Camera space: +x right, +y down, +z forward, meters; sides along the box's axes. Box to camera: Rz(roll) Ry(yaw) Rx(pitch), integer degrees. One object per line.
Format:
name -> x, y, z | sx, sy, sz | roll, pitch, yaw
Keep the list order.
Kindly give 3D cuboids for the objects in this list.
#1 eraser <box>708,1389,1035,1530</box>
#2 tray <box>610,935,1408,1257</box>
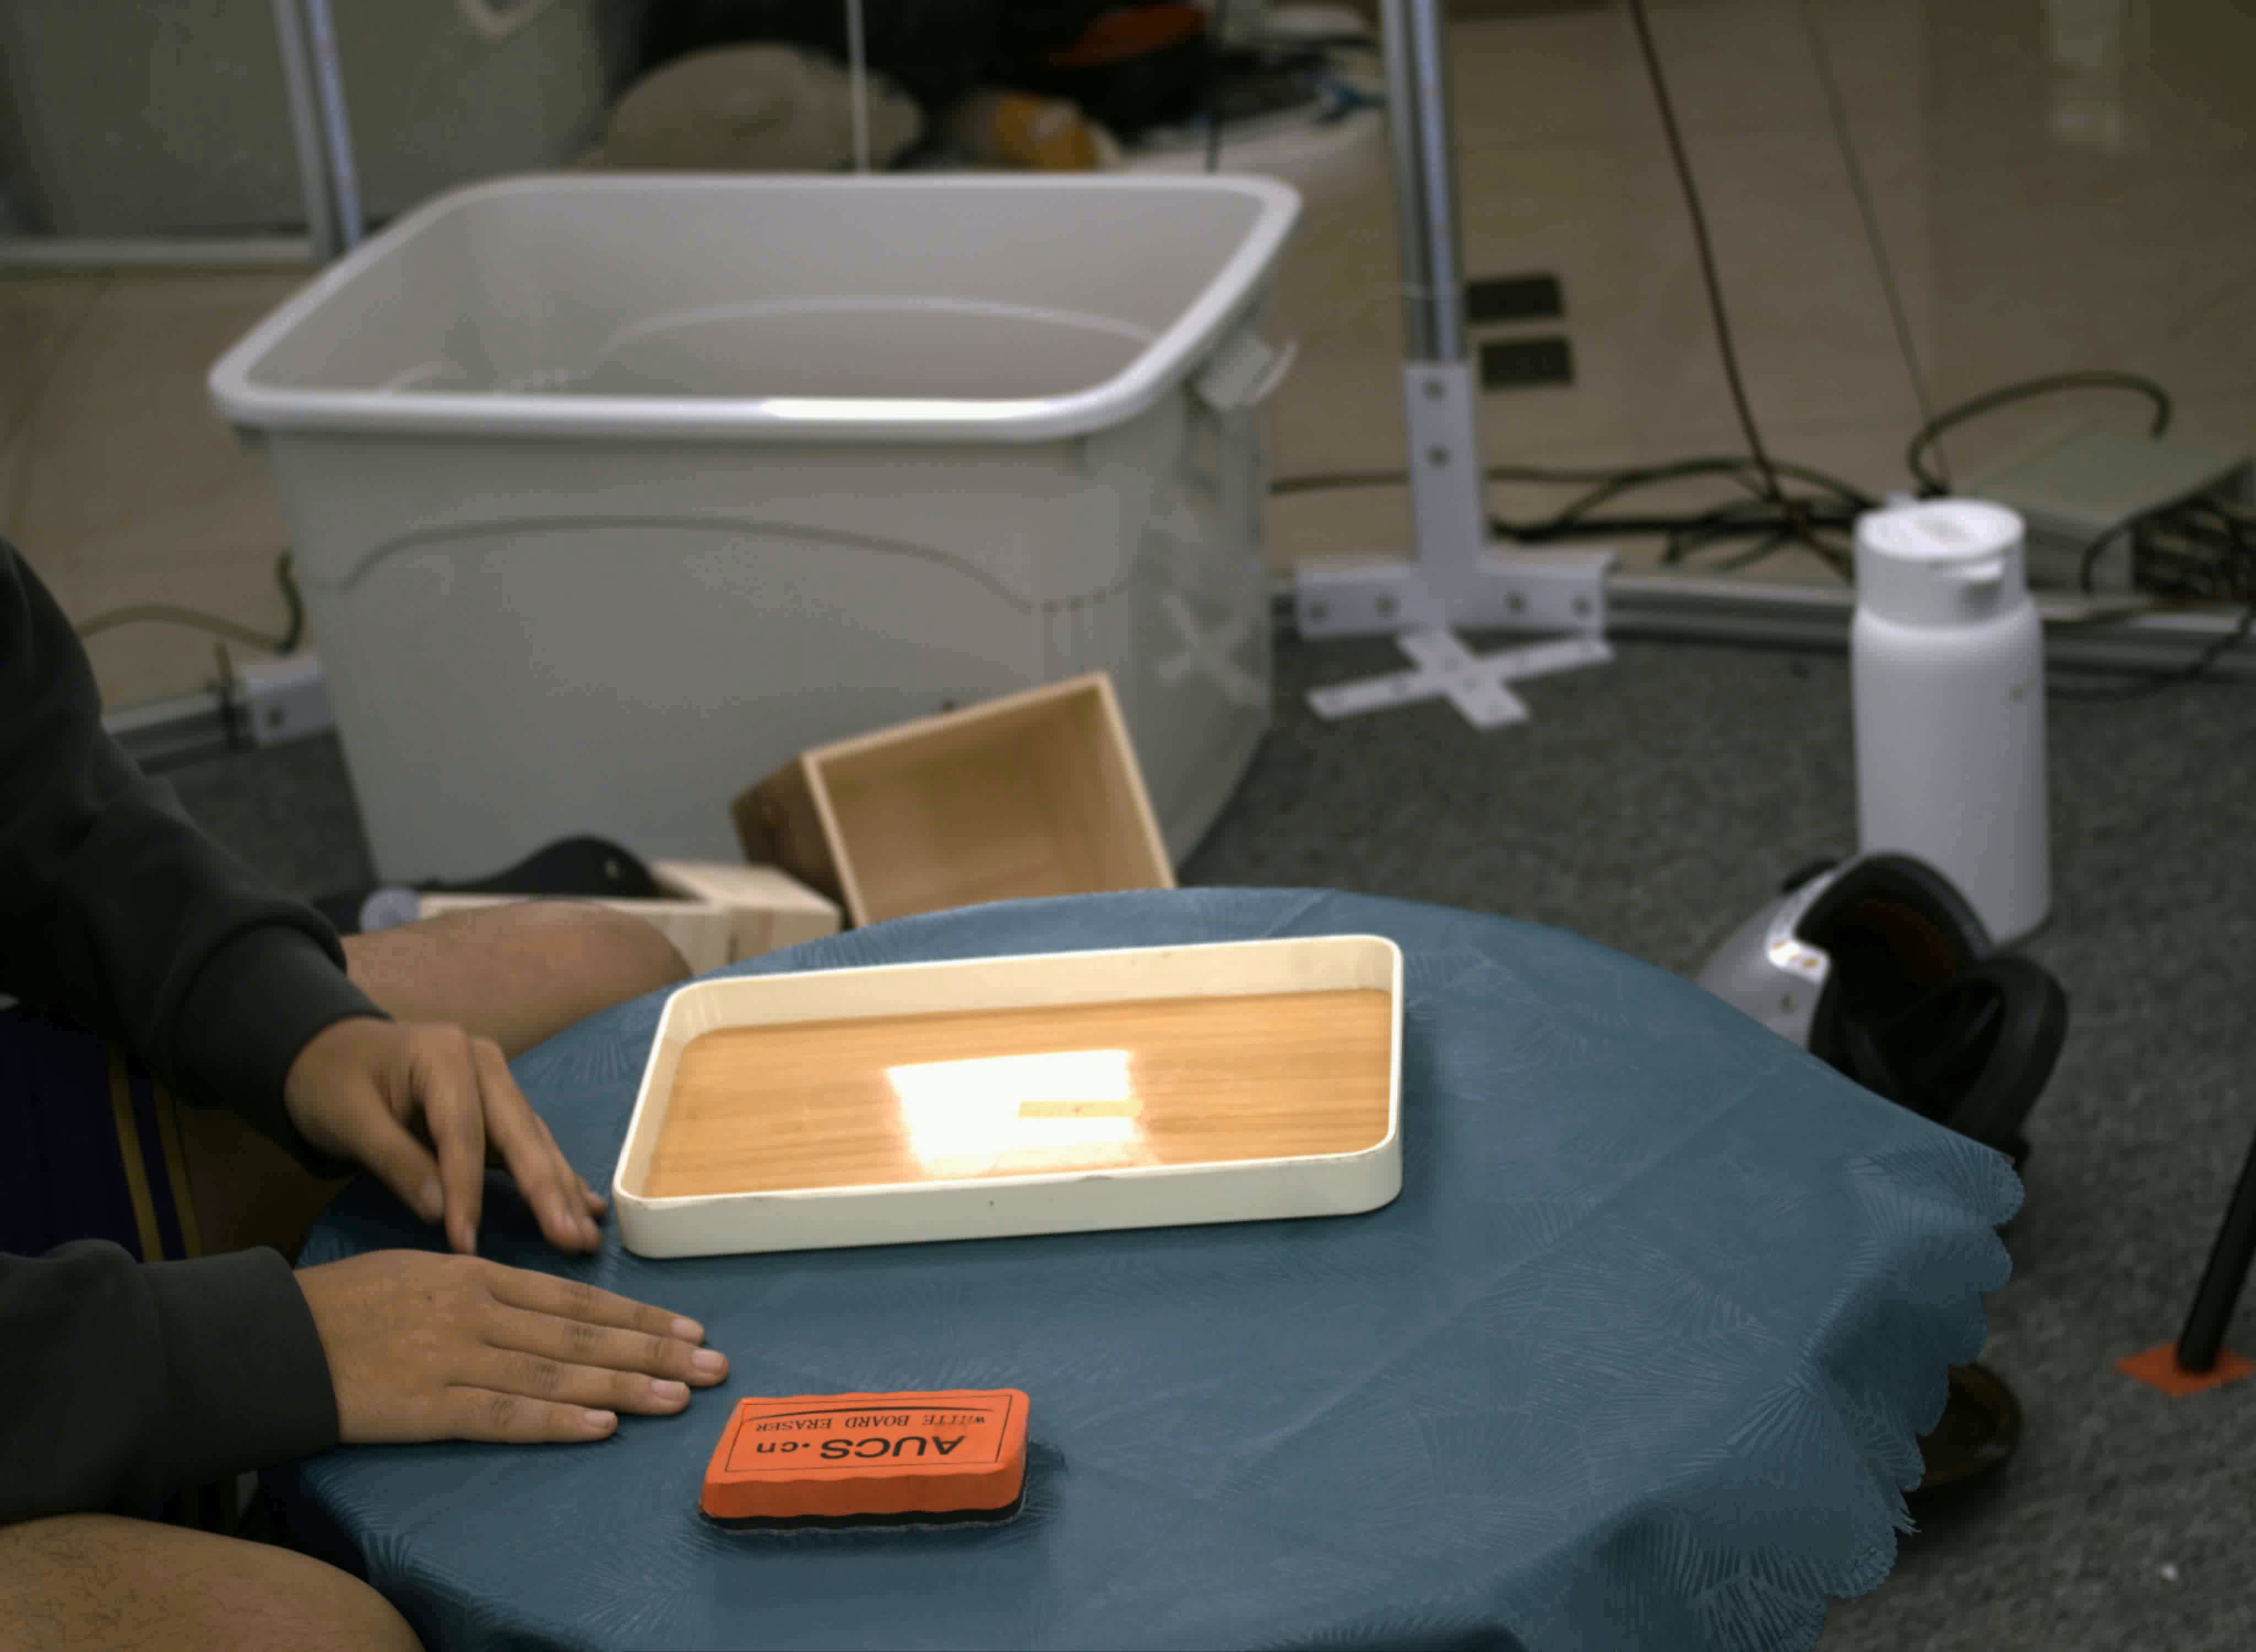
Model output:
eraser -> -0.088, 0.219, 1.967 | 0.108, 0.023, 0.058 | -2, 25, 9
tray -> -0.042, 0.104, 2.201 | 0.300, 0.028, 0.189 | -4, 25, 6
